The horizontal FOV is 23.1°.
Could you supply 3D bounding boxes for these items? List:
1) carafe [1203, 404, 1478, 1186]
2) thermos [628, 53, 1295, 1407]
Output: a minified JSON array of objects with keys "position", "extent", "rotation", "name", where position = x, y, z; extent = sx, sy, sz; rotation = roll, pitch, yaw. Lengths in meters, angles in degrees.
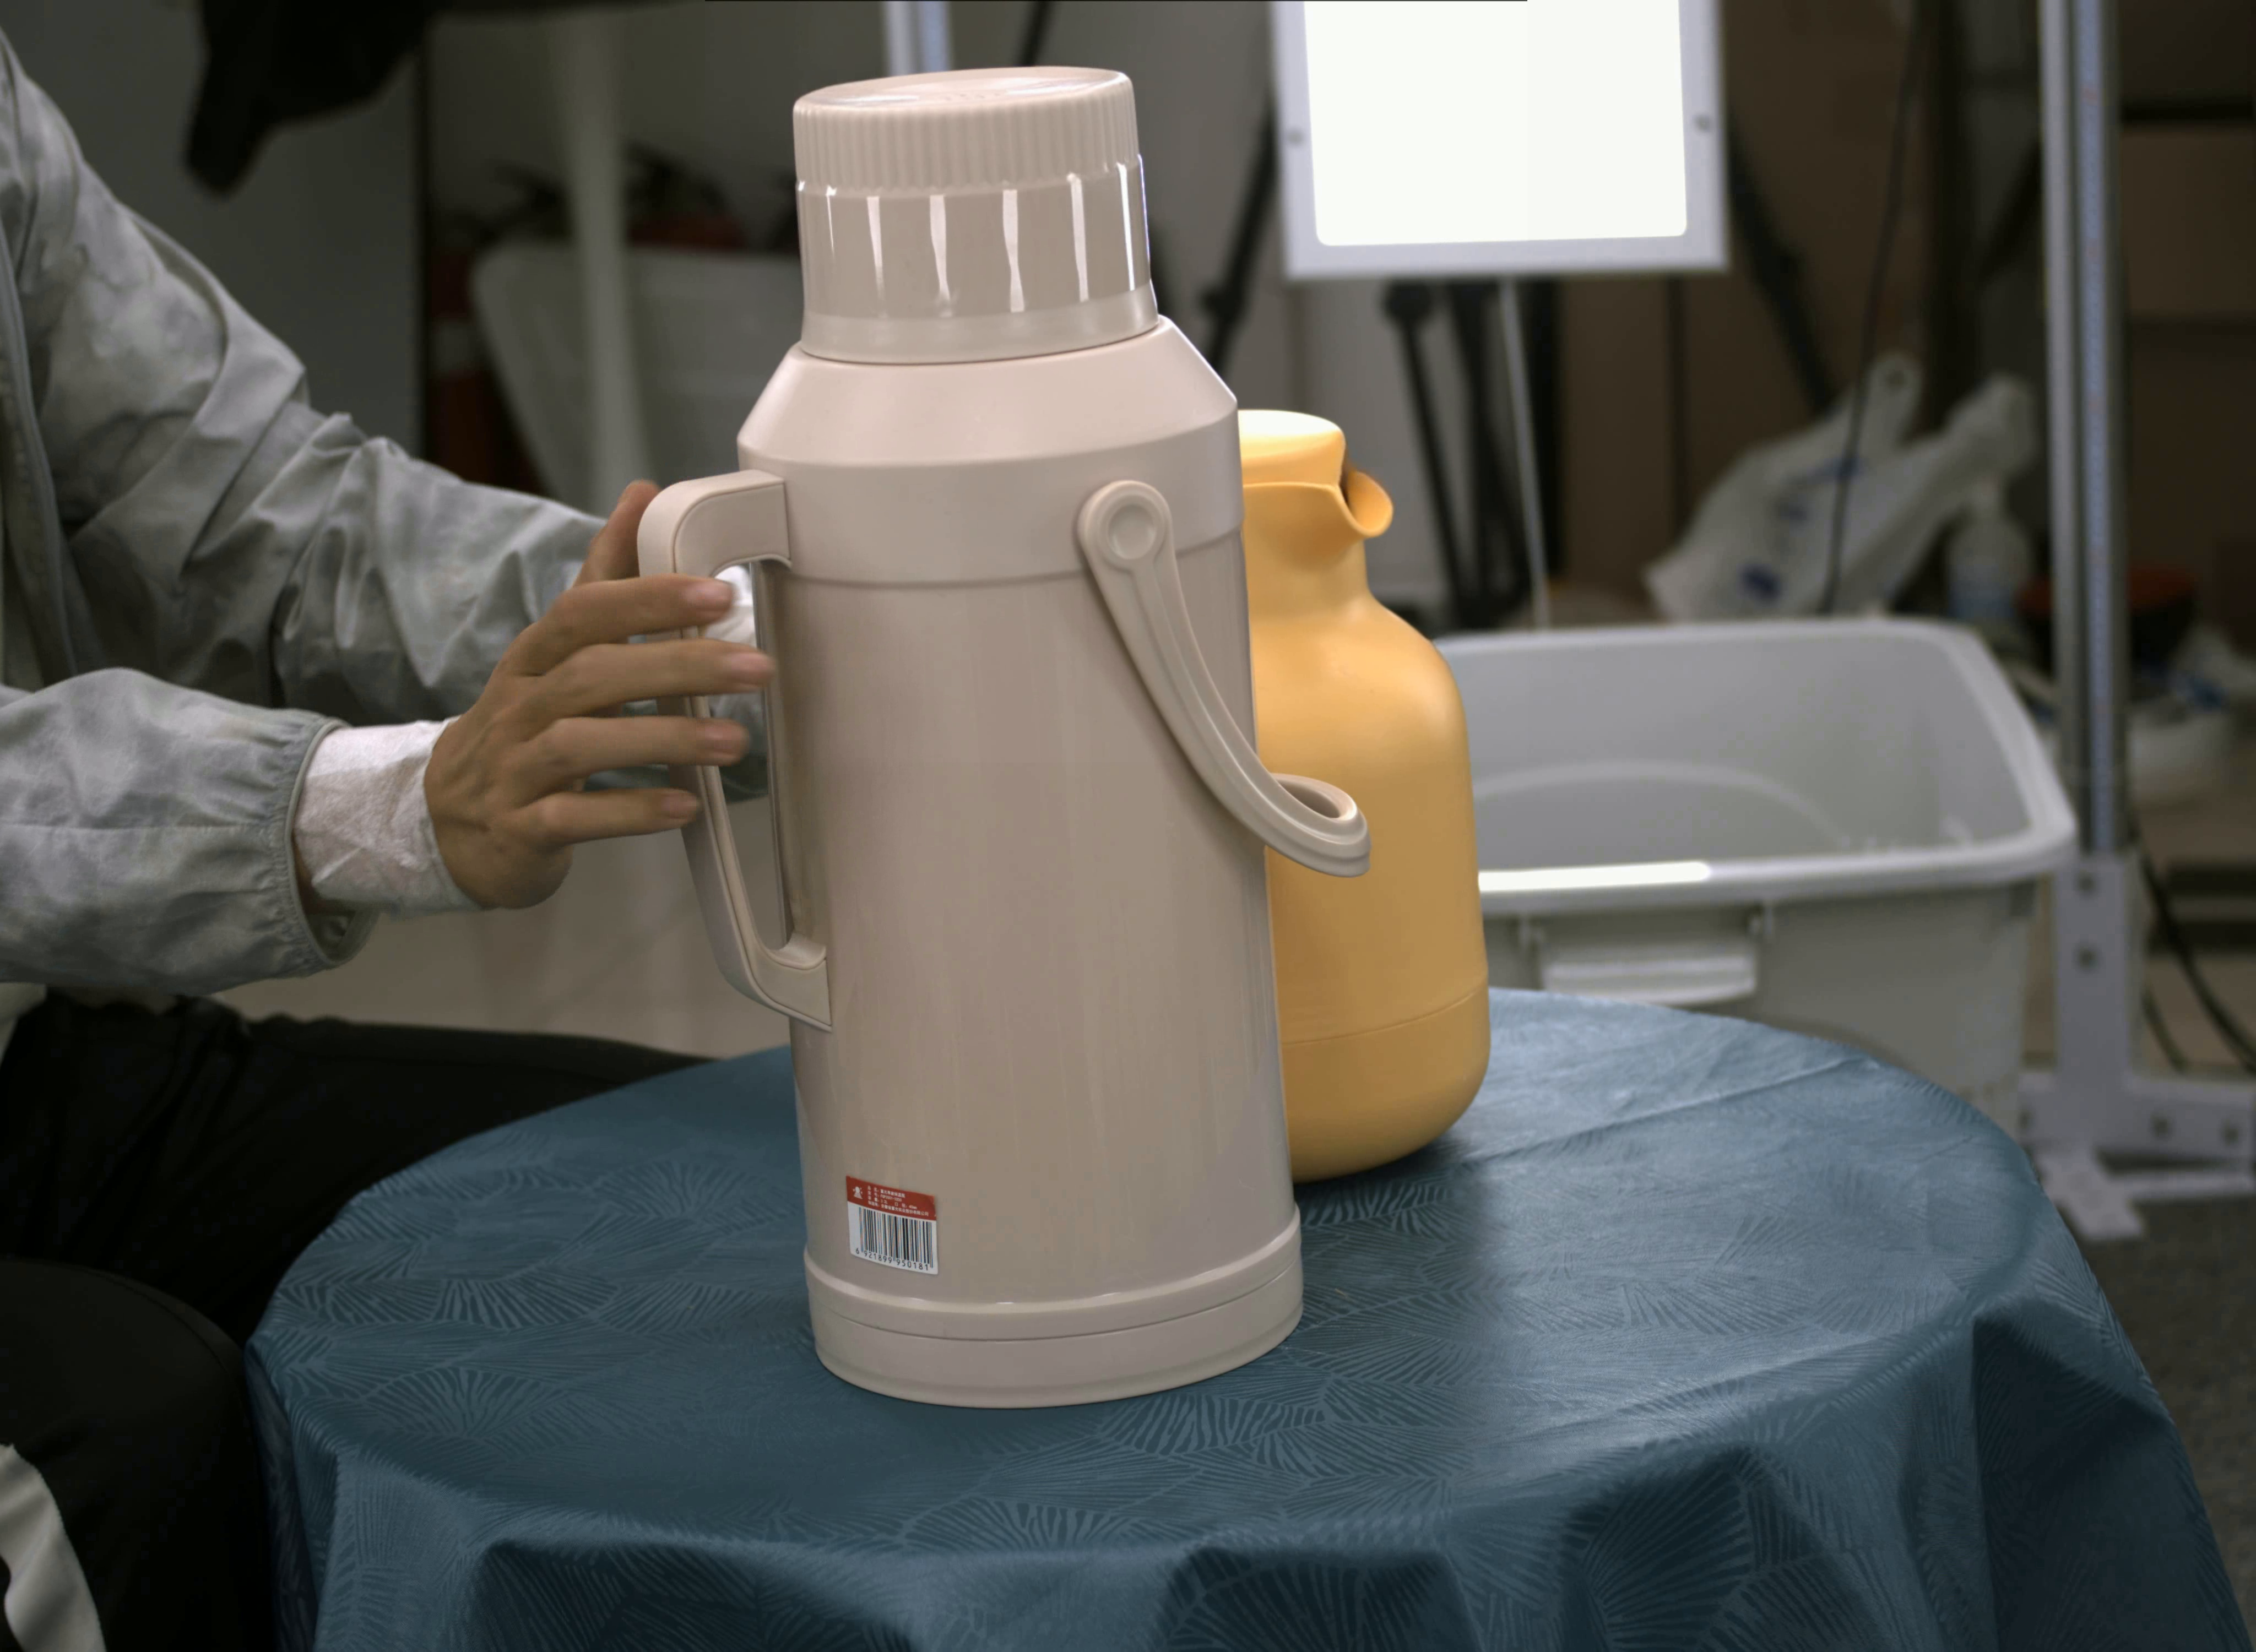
[{"position":[0.026,-0.017,1.923],"extent":[0.159,0.261,0.207],"rotation":[-13,17,-39],"name":"carafe"},{"position":[-0.051,-0.030,1.715],"extent":[0.202,0.408,0.178],"rotation":[-11,16,-26],"name":"thermos"}]
